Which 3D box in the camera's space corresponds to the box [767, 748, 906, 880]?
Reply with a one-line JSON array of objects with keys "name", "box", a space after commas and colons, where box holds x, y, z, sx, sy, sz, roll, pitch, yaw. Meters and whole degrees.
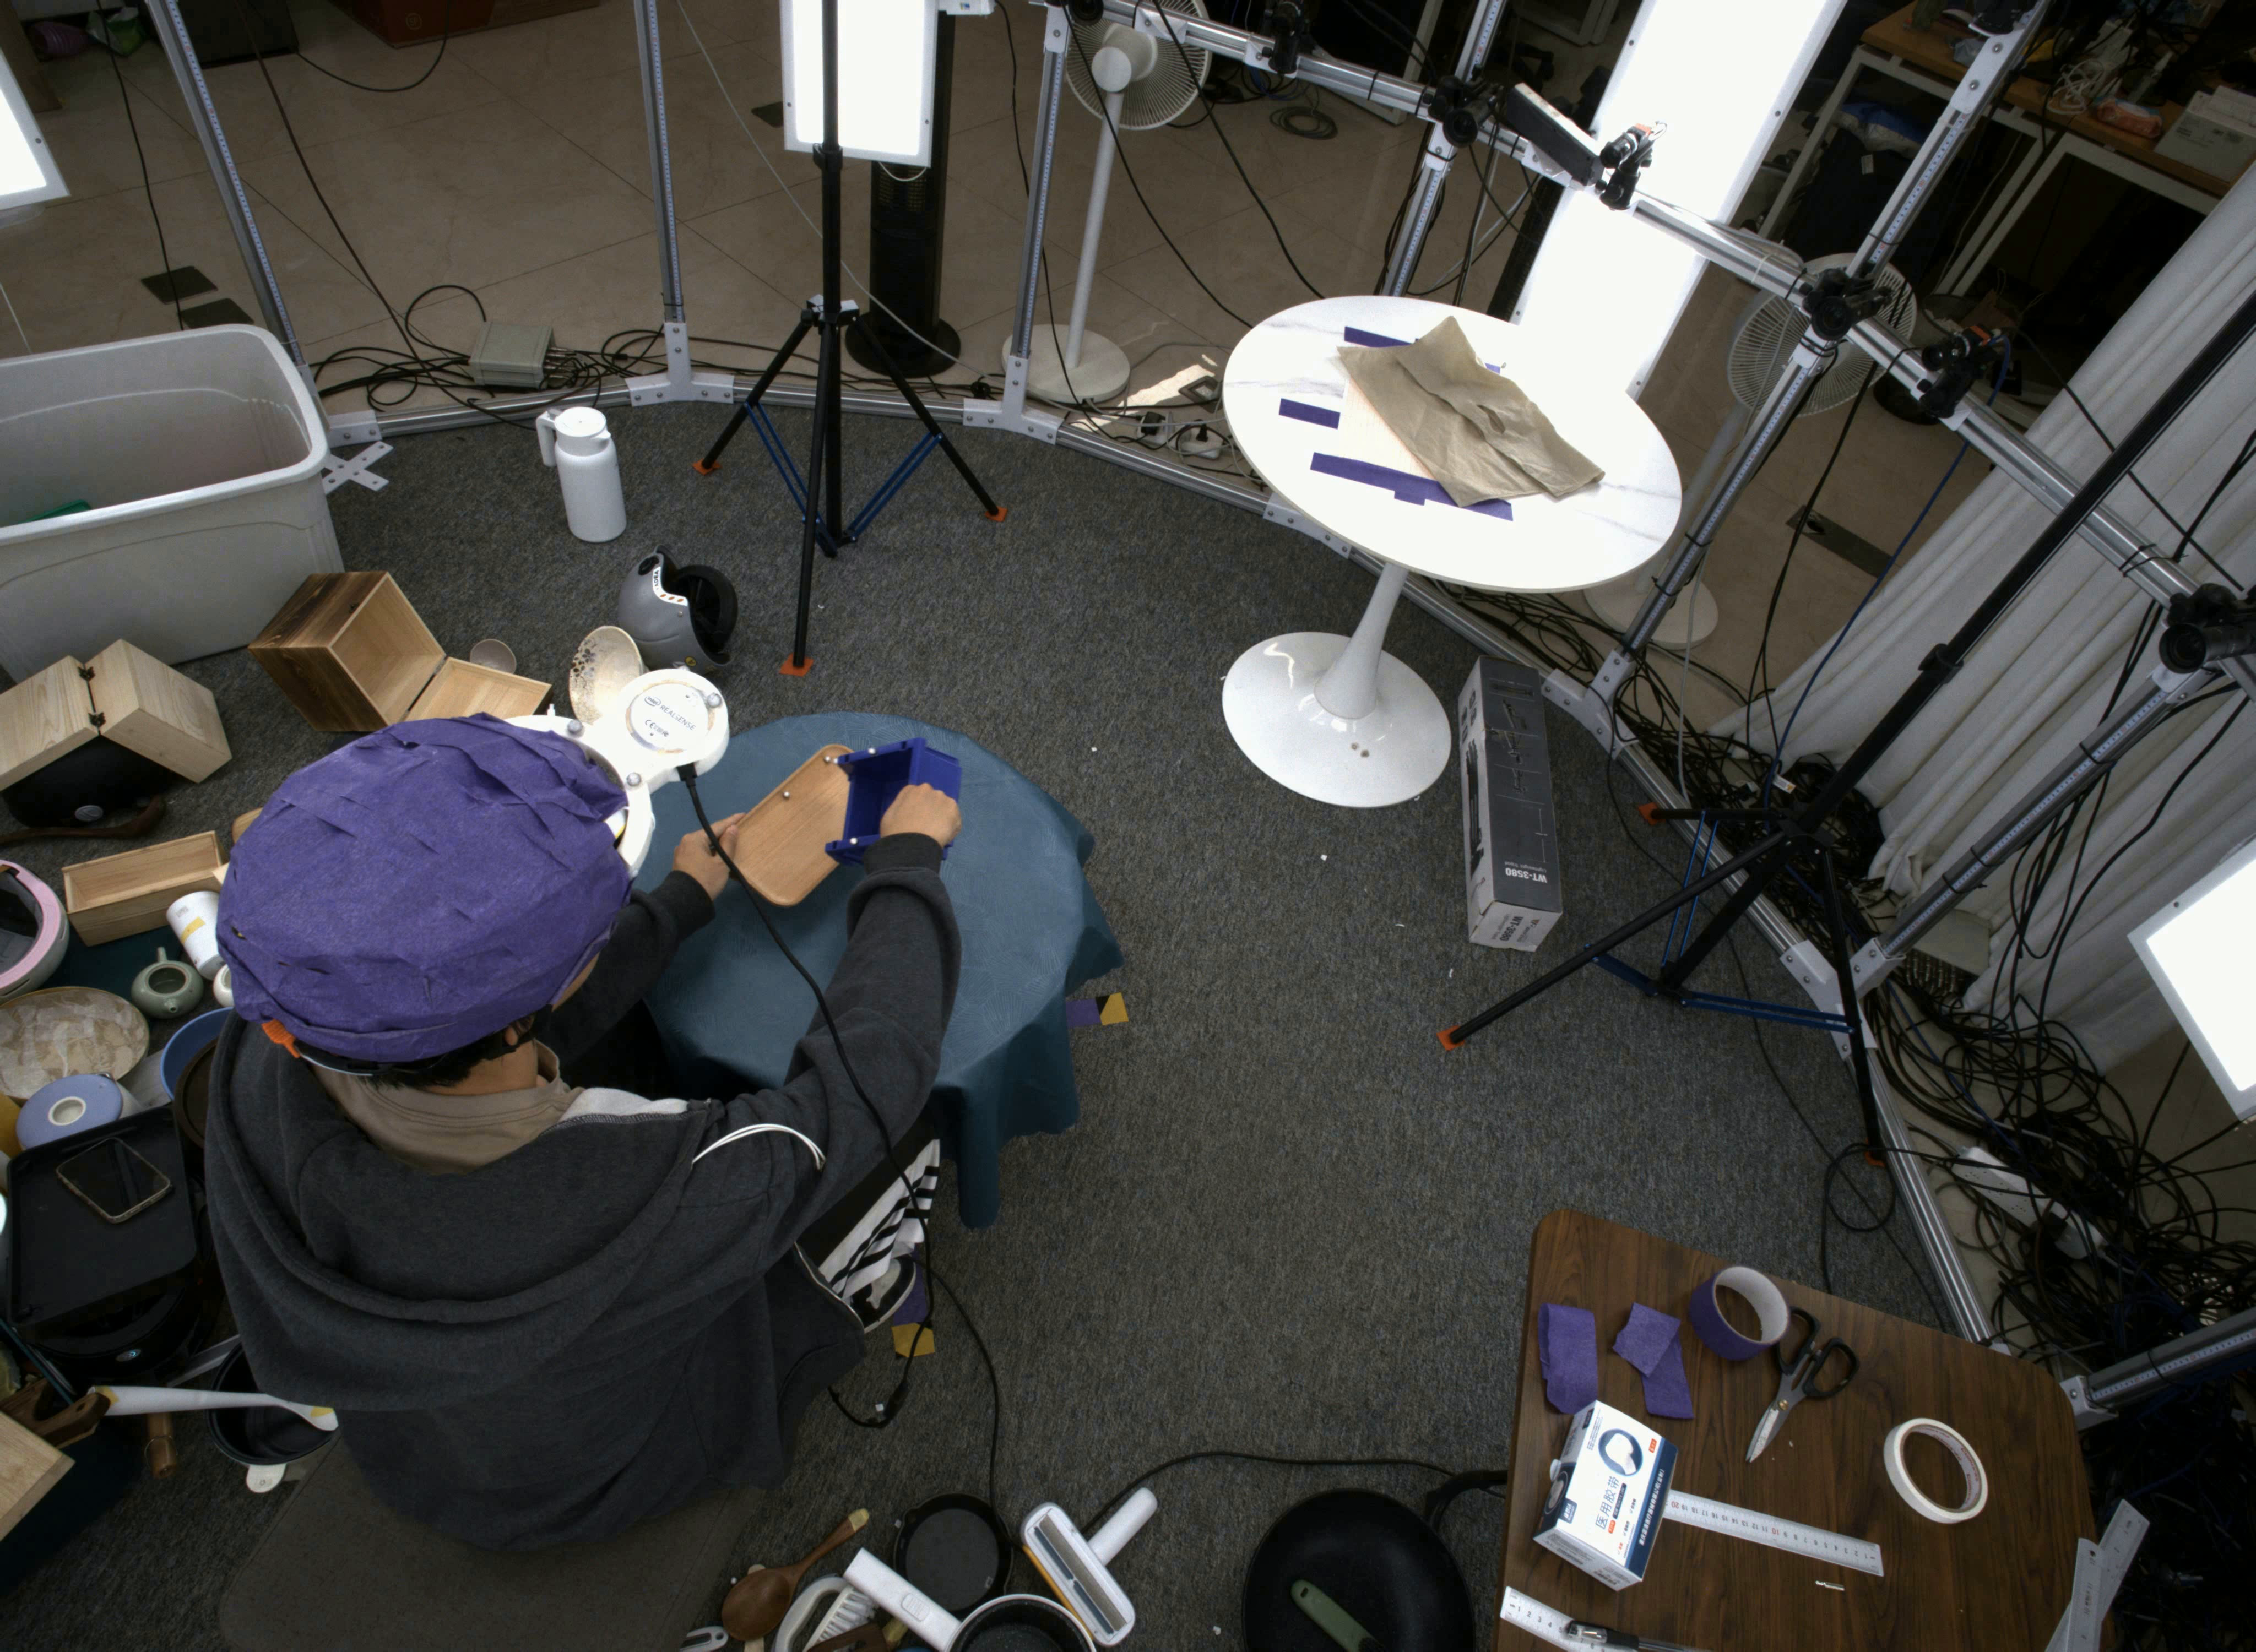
[{"name": "box", "box": [-0.344, -0.009, 1.506, 0.084, 0.174, 0.124, 20, 69, -53]}]

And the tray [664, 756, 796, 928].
[{"name": "tray", "box": [-0.463, 0.016, 1.625, 0.130, 0.023, 0.249, 35, 50, 0]}]
